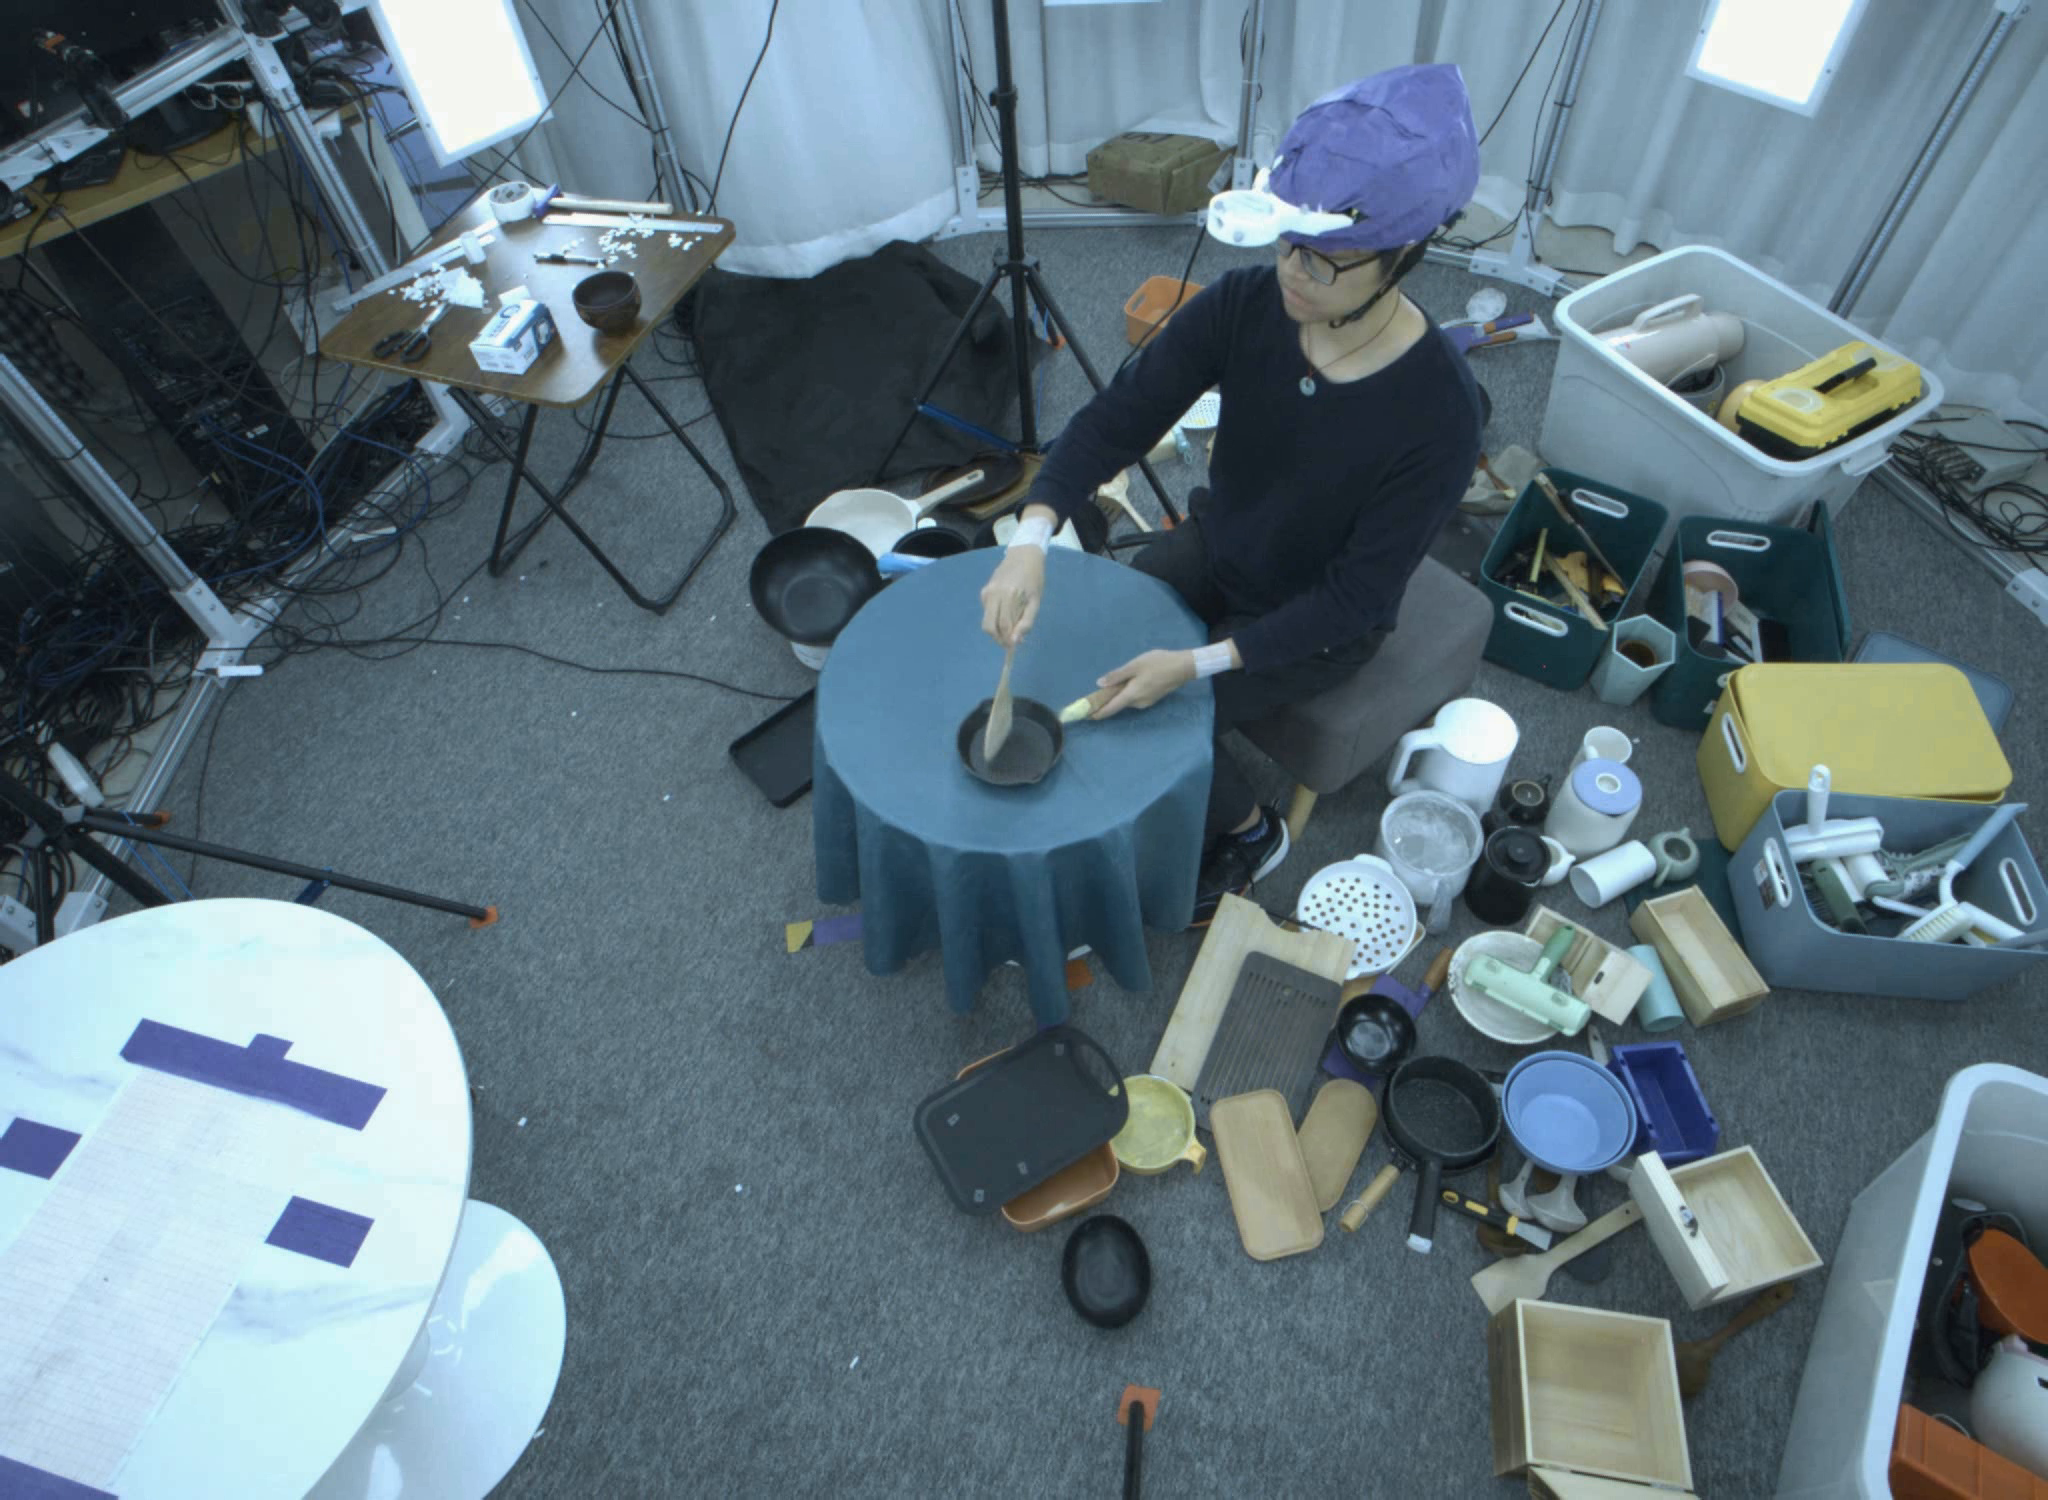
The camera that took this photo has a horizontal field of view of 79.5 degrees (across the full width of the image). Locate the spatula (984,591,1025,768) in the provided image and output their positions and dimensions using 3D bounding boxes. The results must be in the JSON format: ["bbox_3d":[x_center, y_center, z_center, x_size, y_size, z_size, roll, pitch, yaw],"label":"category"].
[{"bbox_3d":[-0.022,-0.097,1.658,0.016,0.329,0.080,26,54,10],"label":"spatula"}]

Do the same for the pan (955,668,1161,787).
[{"bbox_3d":[0.056,-0.044,1.785,0.326,0.050,0.166,-23,57,-12],"label":"pan"}]
